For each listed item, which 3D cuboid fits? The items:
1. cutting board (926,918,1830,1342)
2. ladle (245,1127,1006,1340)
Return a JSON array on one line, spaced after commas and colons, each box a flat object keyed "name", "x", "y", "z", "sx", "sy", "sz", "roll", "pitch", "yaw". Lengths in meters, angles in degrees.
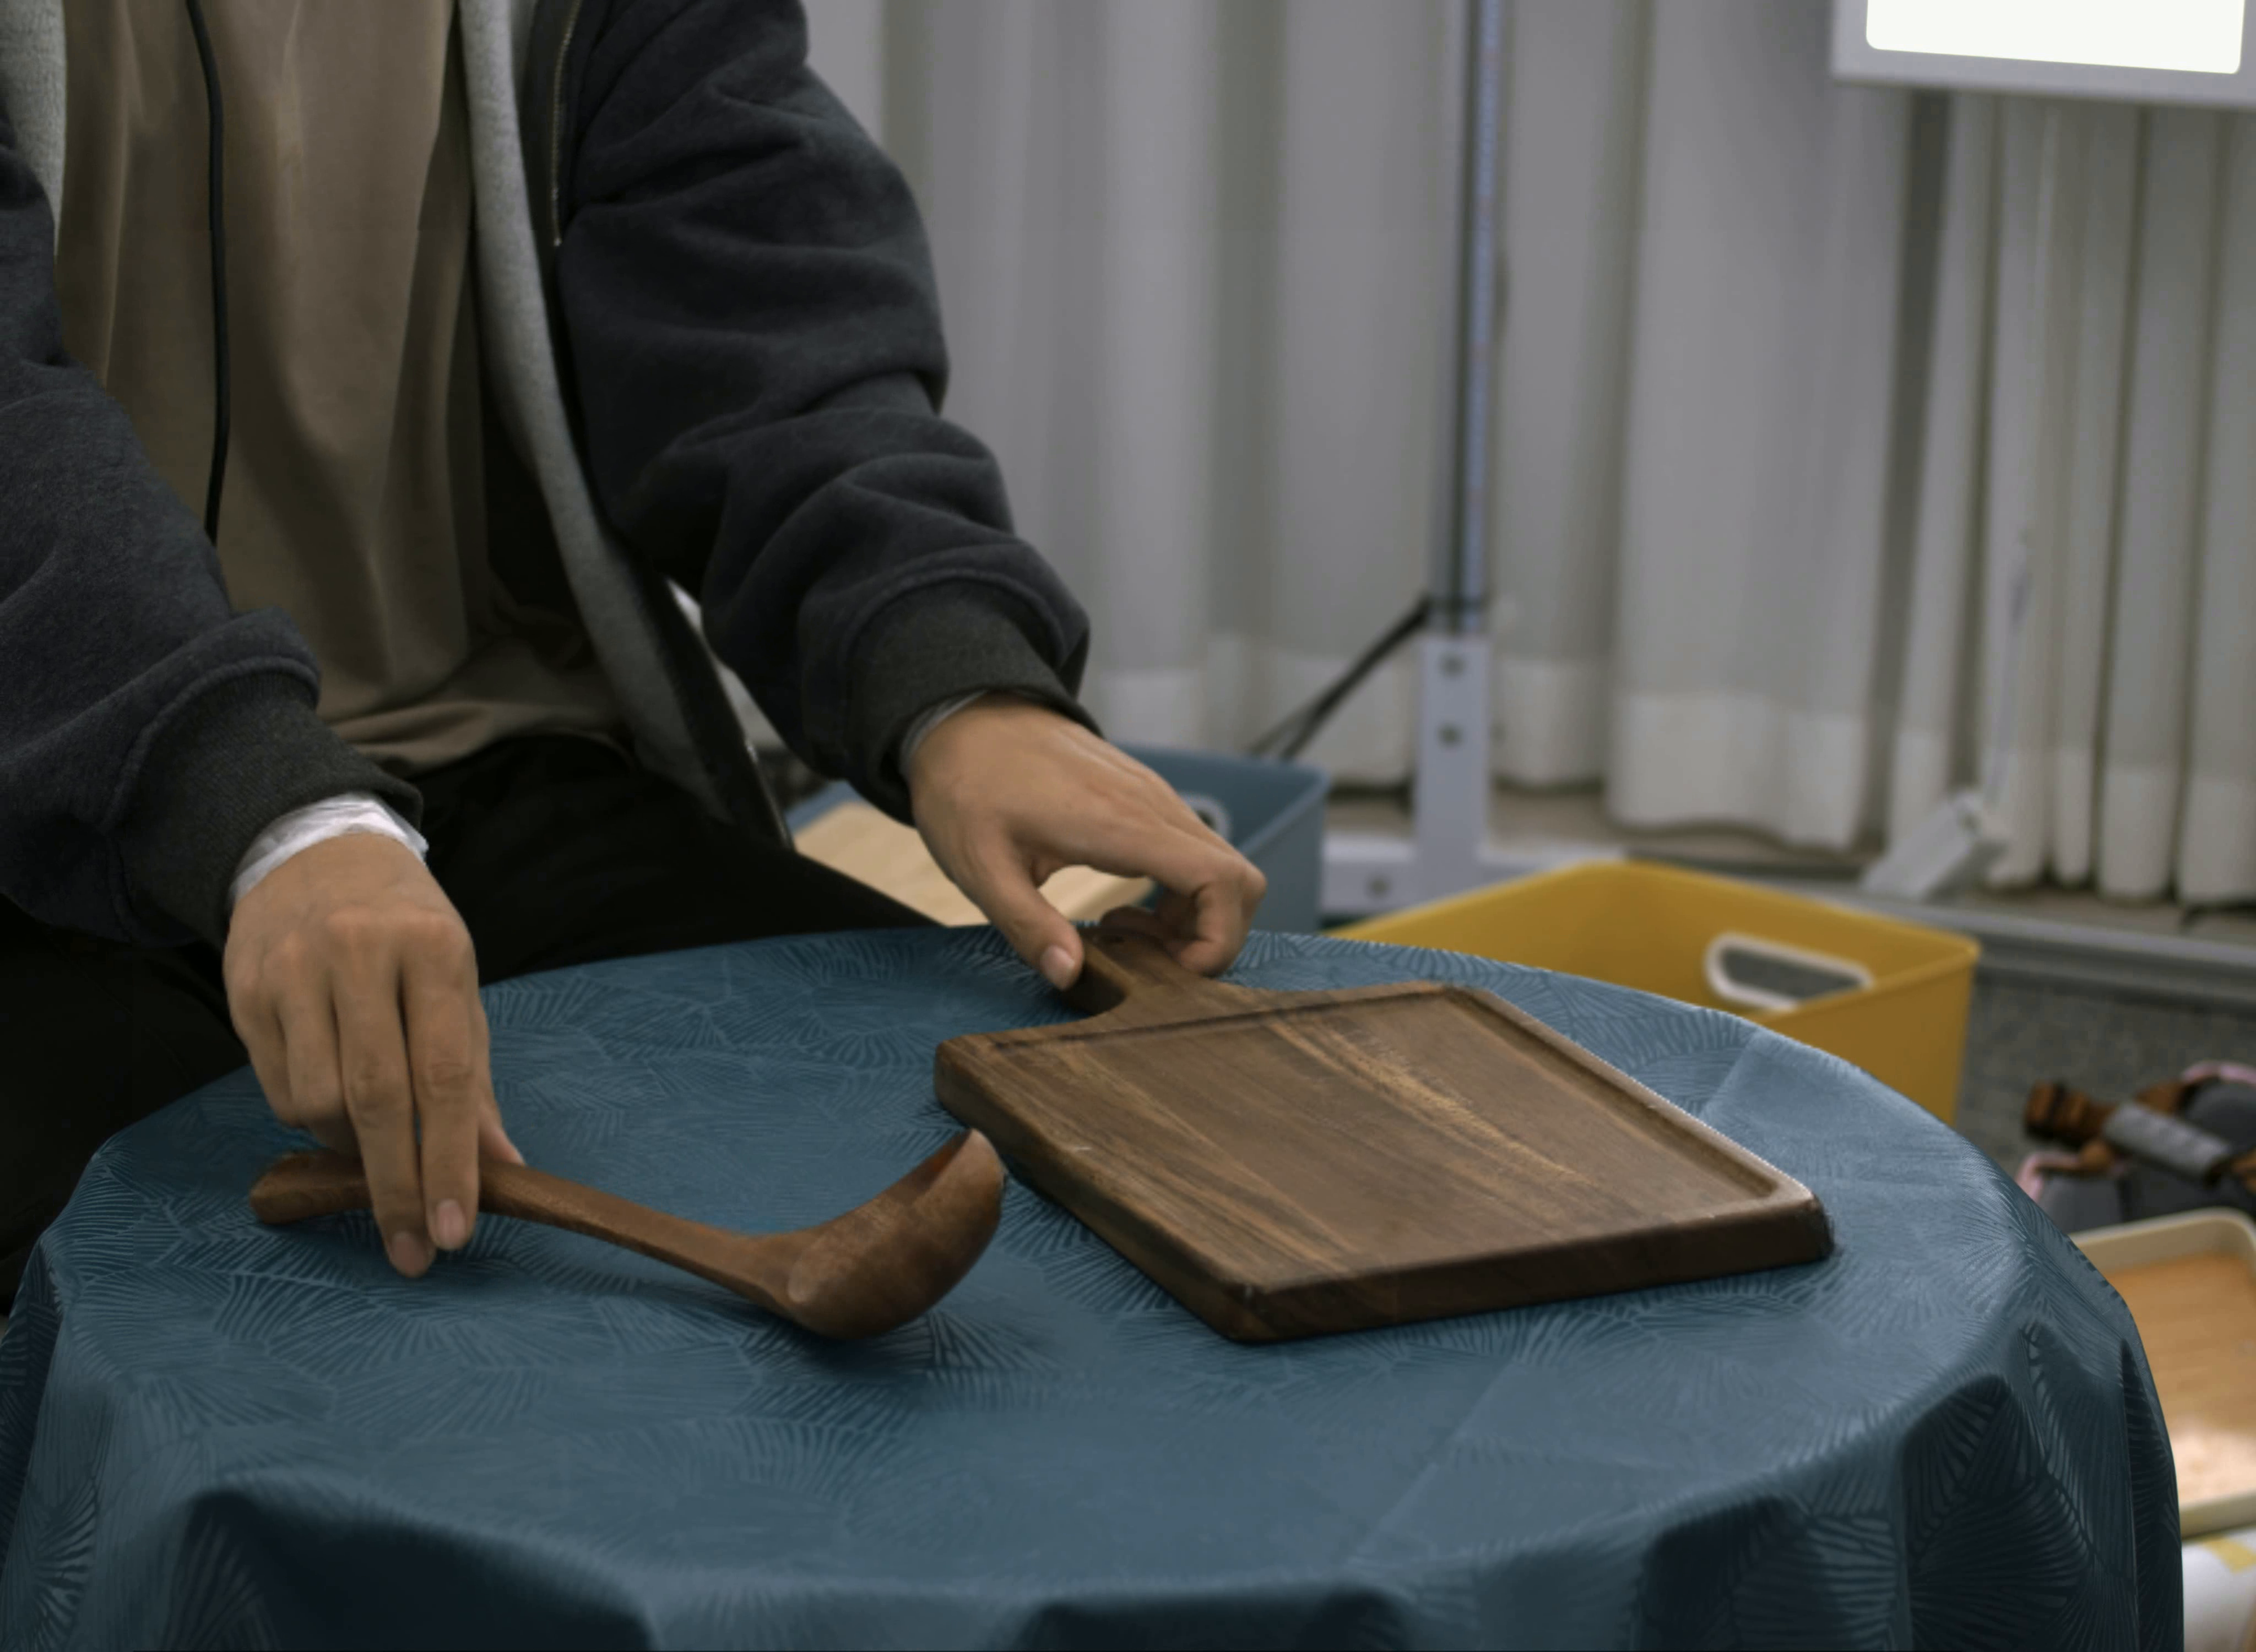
[{"name": "cutting board", "x": 0.053, "y": 0.086, "z": 1.677, "sx": 0.202, "sy": 0.023, "sz": 0.348, "roll": -5, "pitch": 17, "yaw": -23}, {"name": "ladle", "x": -0.152, "y": 0.103, "z": 1.529, "sx": 0.257, "sy": 0.066, "sz": 0.076, "roll": 9, "pitch": 28, "yaw": 26}]
